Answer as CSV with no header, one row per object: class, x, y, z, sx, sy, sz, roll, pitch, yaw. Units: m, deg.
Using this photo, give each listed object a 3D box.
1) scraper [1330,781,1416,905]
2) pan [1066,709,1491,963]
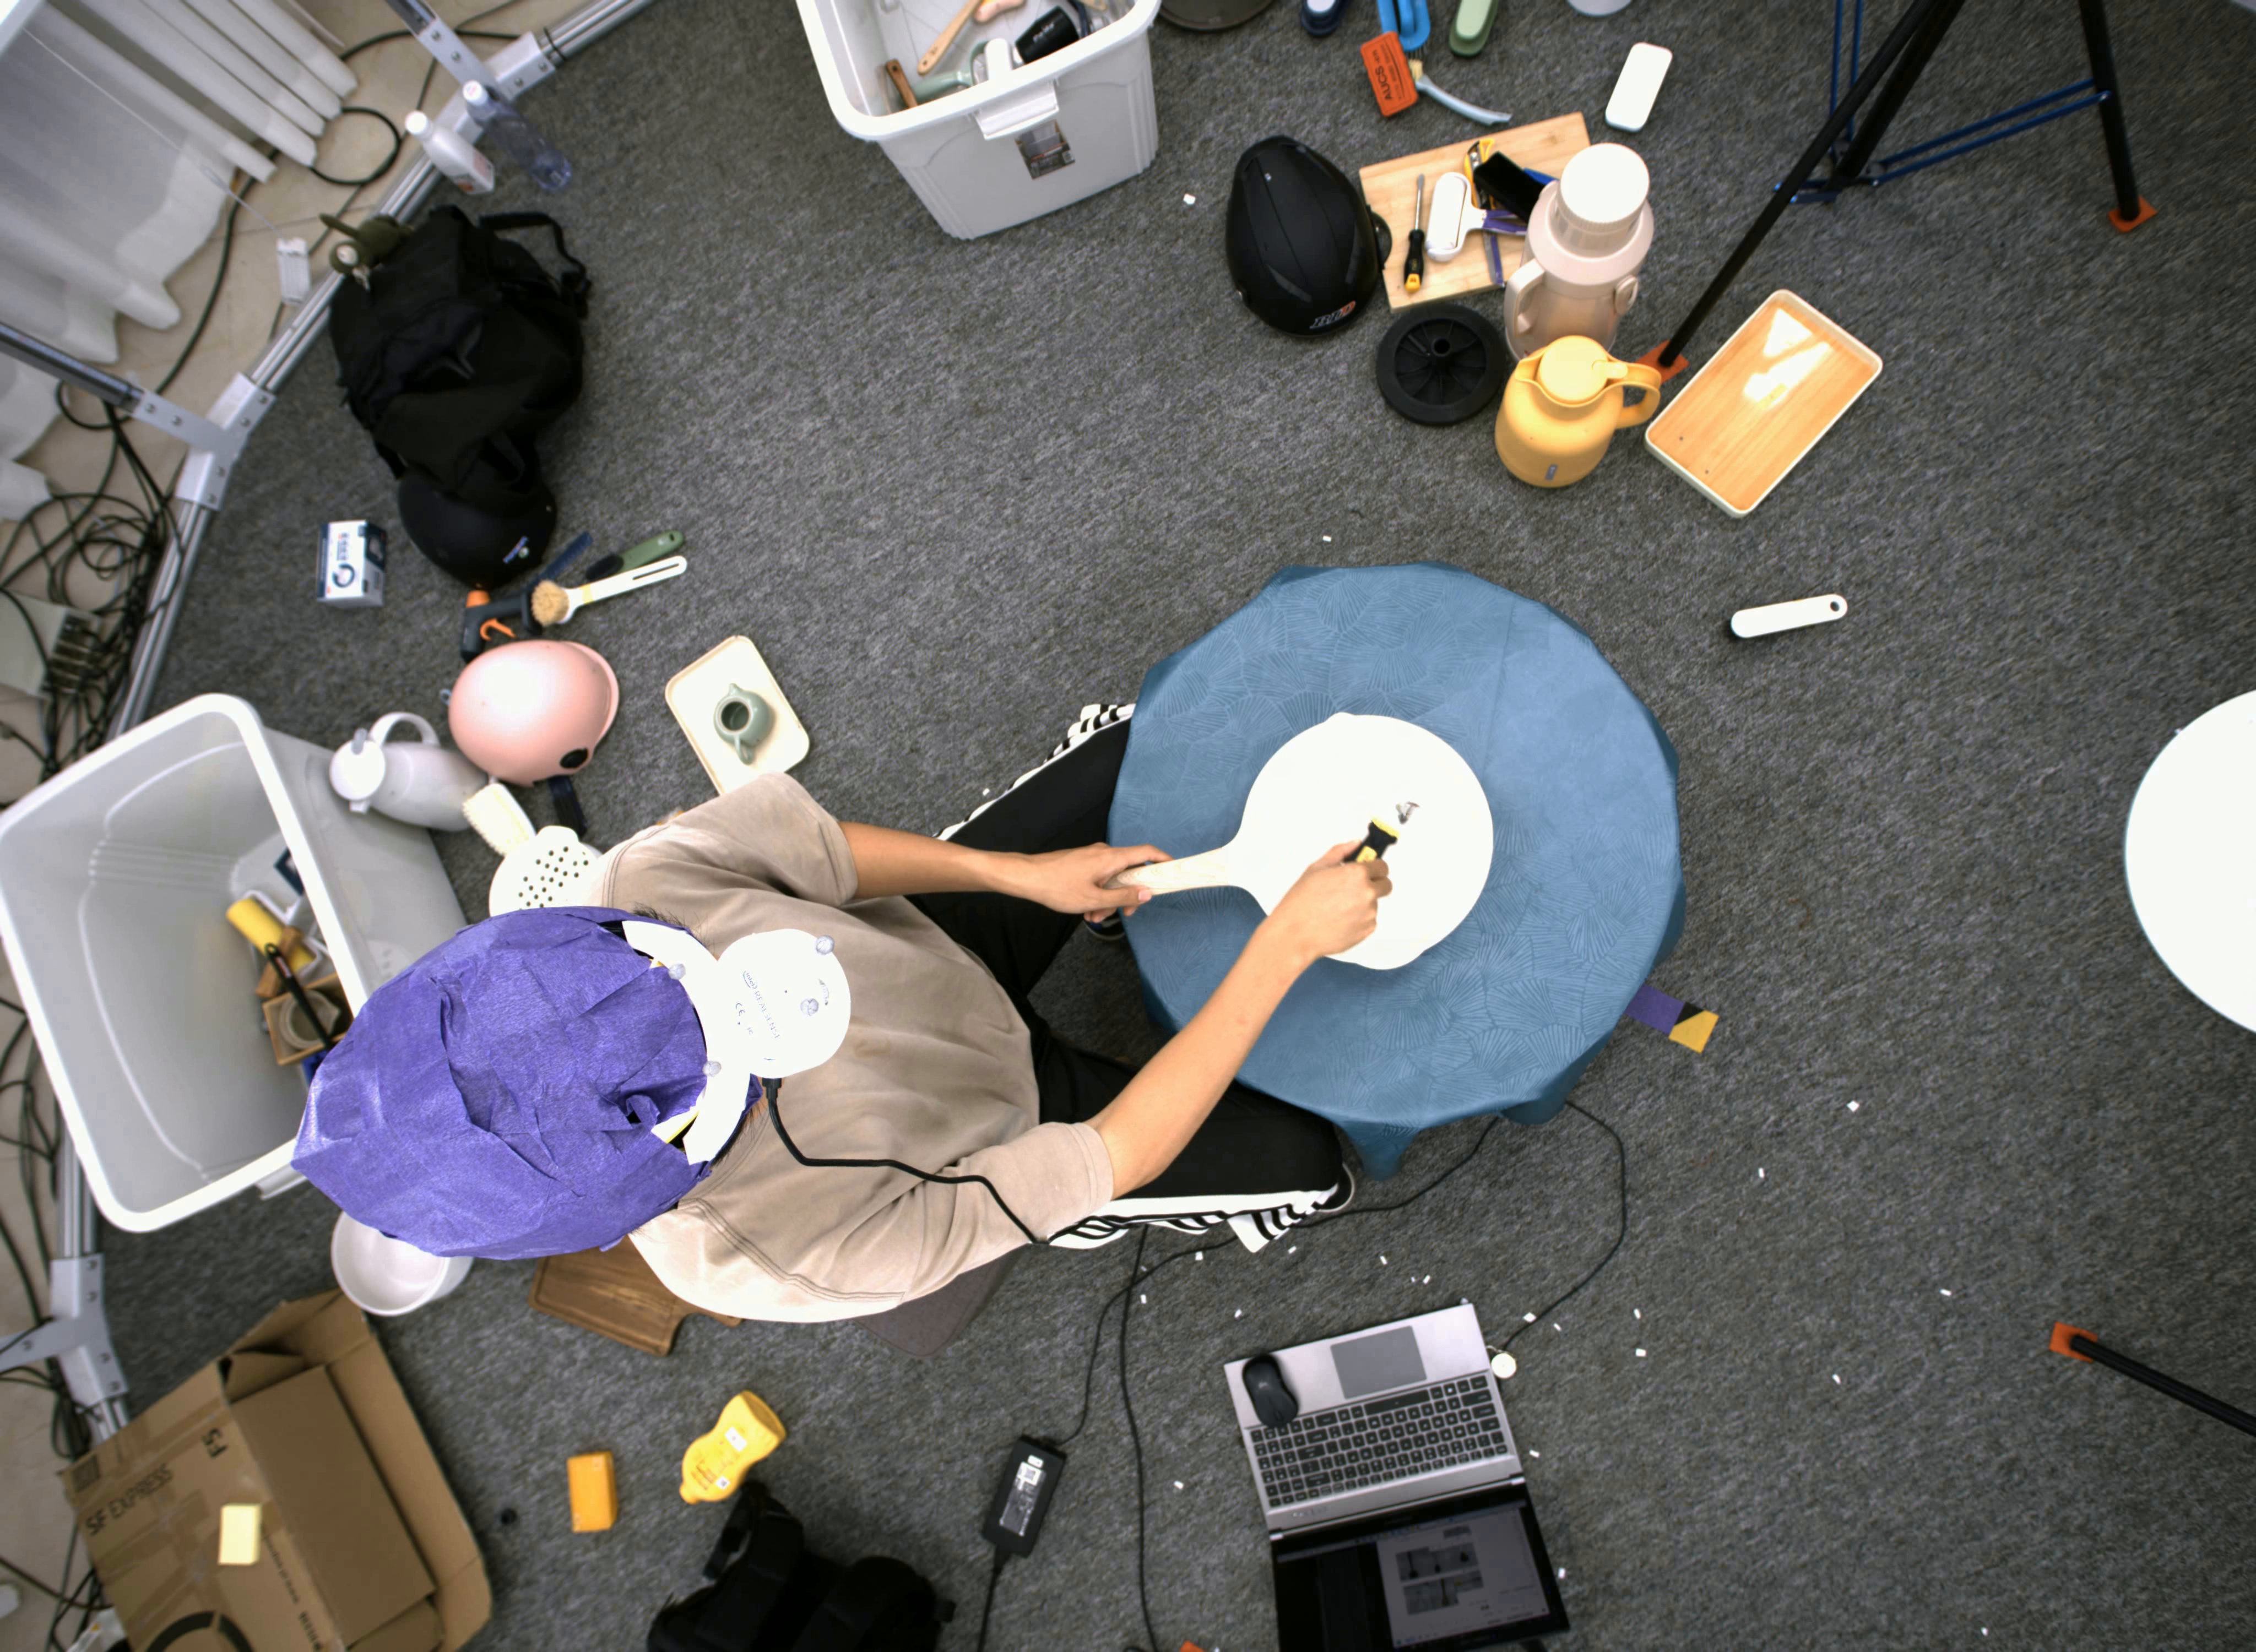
scraper,0.238,0.016,1.341,0.039,0.015,0.167,35,52,3
pan,0.154,0.029,1.438,0.437,0.102,0.262,-12,87,10
